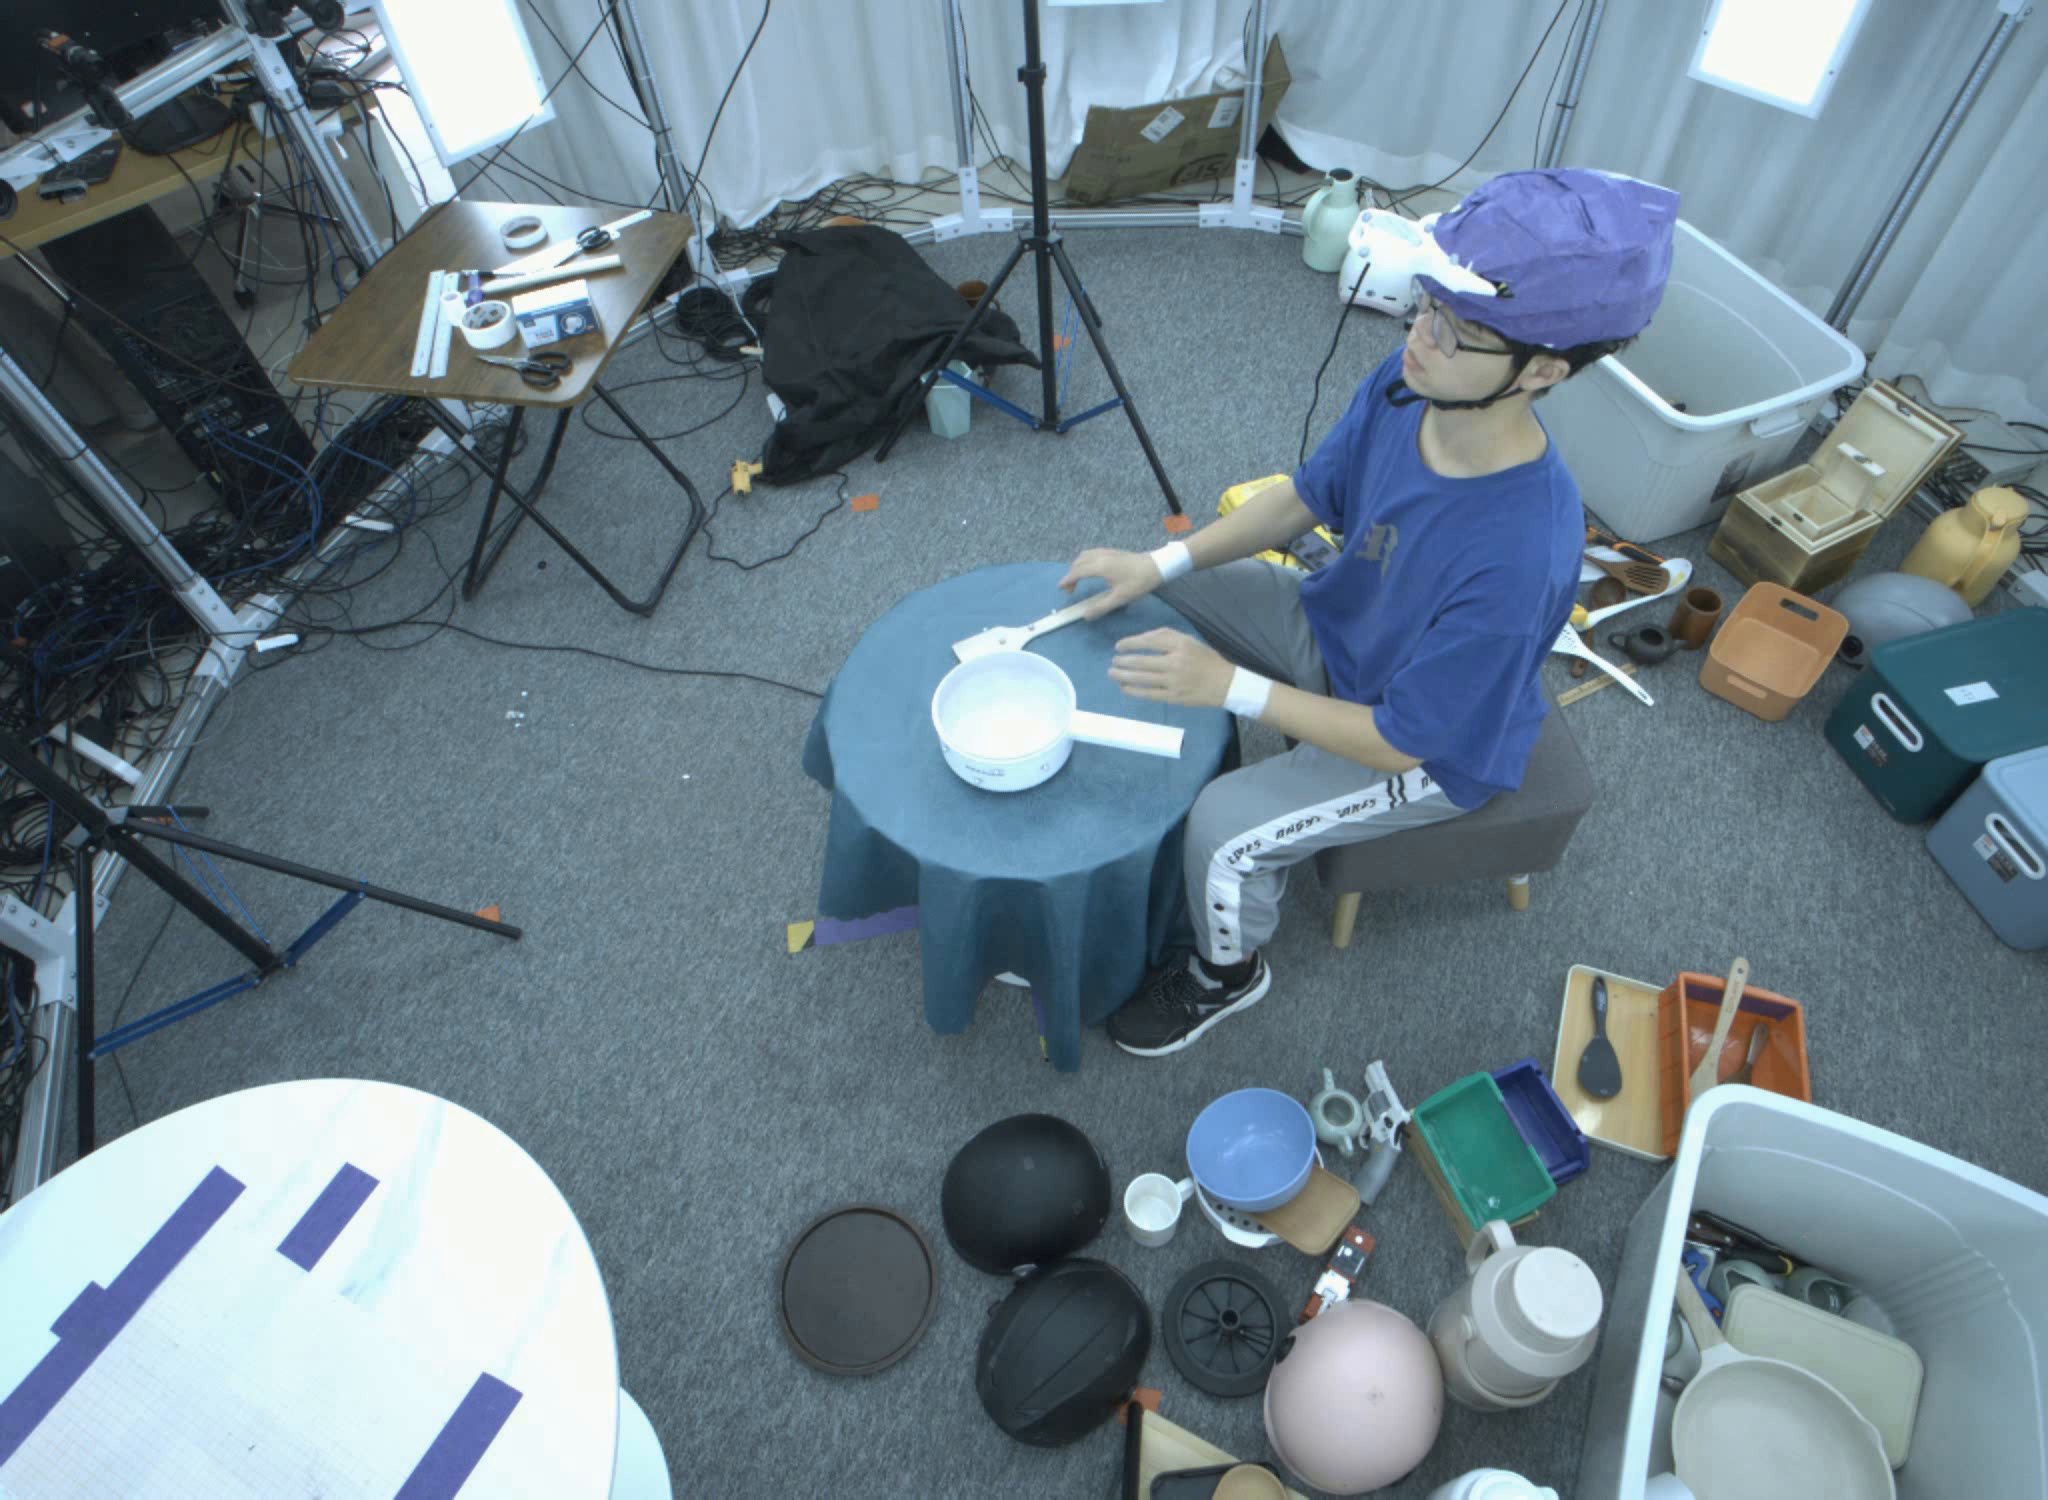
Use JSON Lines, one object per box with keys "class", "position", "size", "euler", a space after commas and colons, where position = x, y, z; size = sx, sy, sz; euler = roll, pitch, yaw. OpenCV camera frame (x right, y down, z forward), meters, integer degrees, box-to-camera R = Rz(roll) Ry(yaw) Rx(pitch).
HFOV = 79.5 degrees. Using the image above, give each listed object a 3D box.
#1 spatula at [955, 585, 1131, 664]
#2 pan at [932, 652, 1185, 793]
{"class": "spatula", "position": [0.035, -0.195, 1.910], "size": [0.295, 0.011, 0.071], "euler": [-25, 56, -14]}
{"class": "pan", "position": [0.049, -0.021, 1.731], "size": [0.352, 0.103, 0.200], "euler": [11, 54, 10]}
